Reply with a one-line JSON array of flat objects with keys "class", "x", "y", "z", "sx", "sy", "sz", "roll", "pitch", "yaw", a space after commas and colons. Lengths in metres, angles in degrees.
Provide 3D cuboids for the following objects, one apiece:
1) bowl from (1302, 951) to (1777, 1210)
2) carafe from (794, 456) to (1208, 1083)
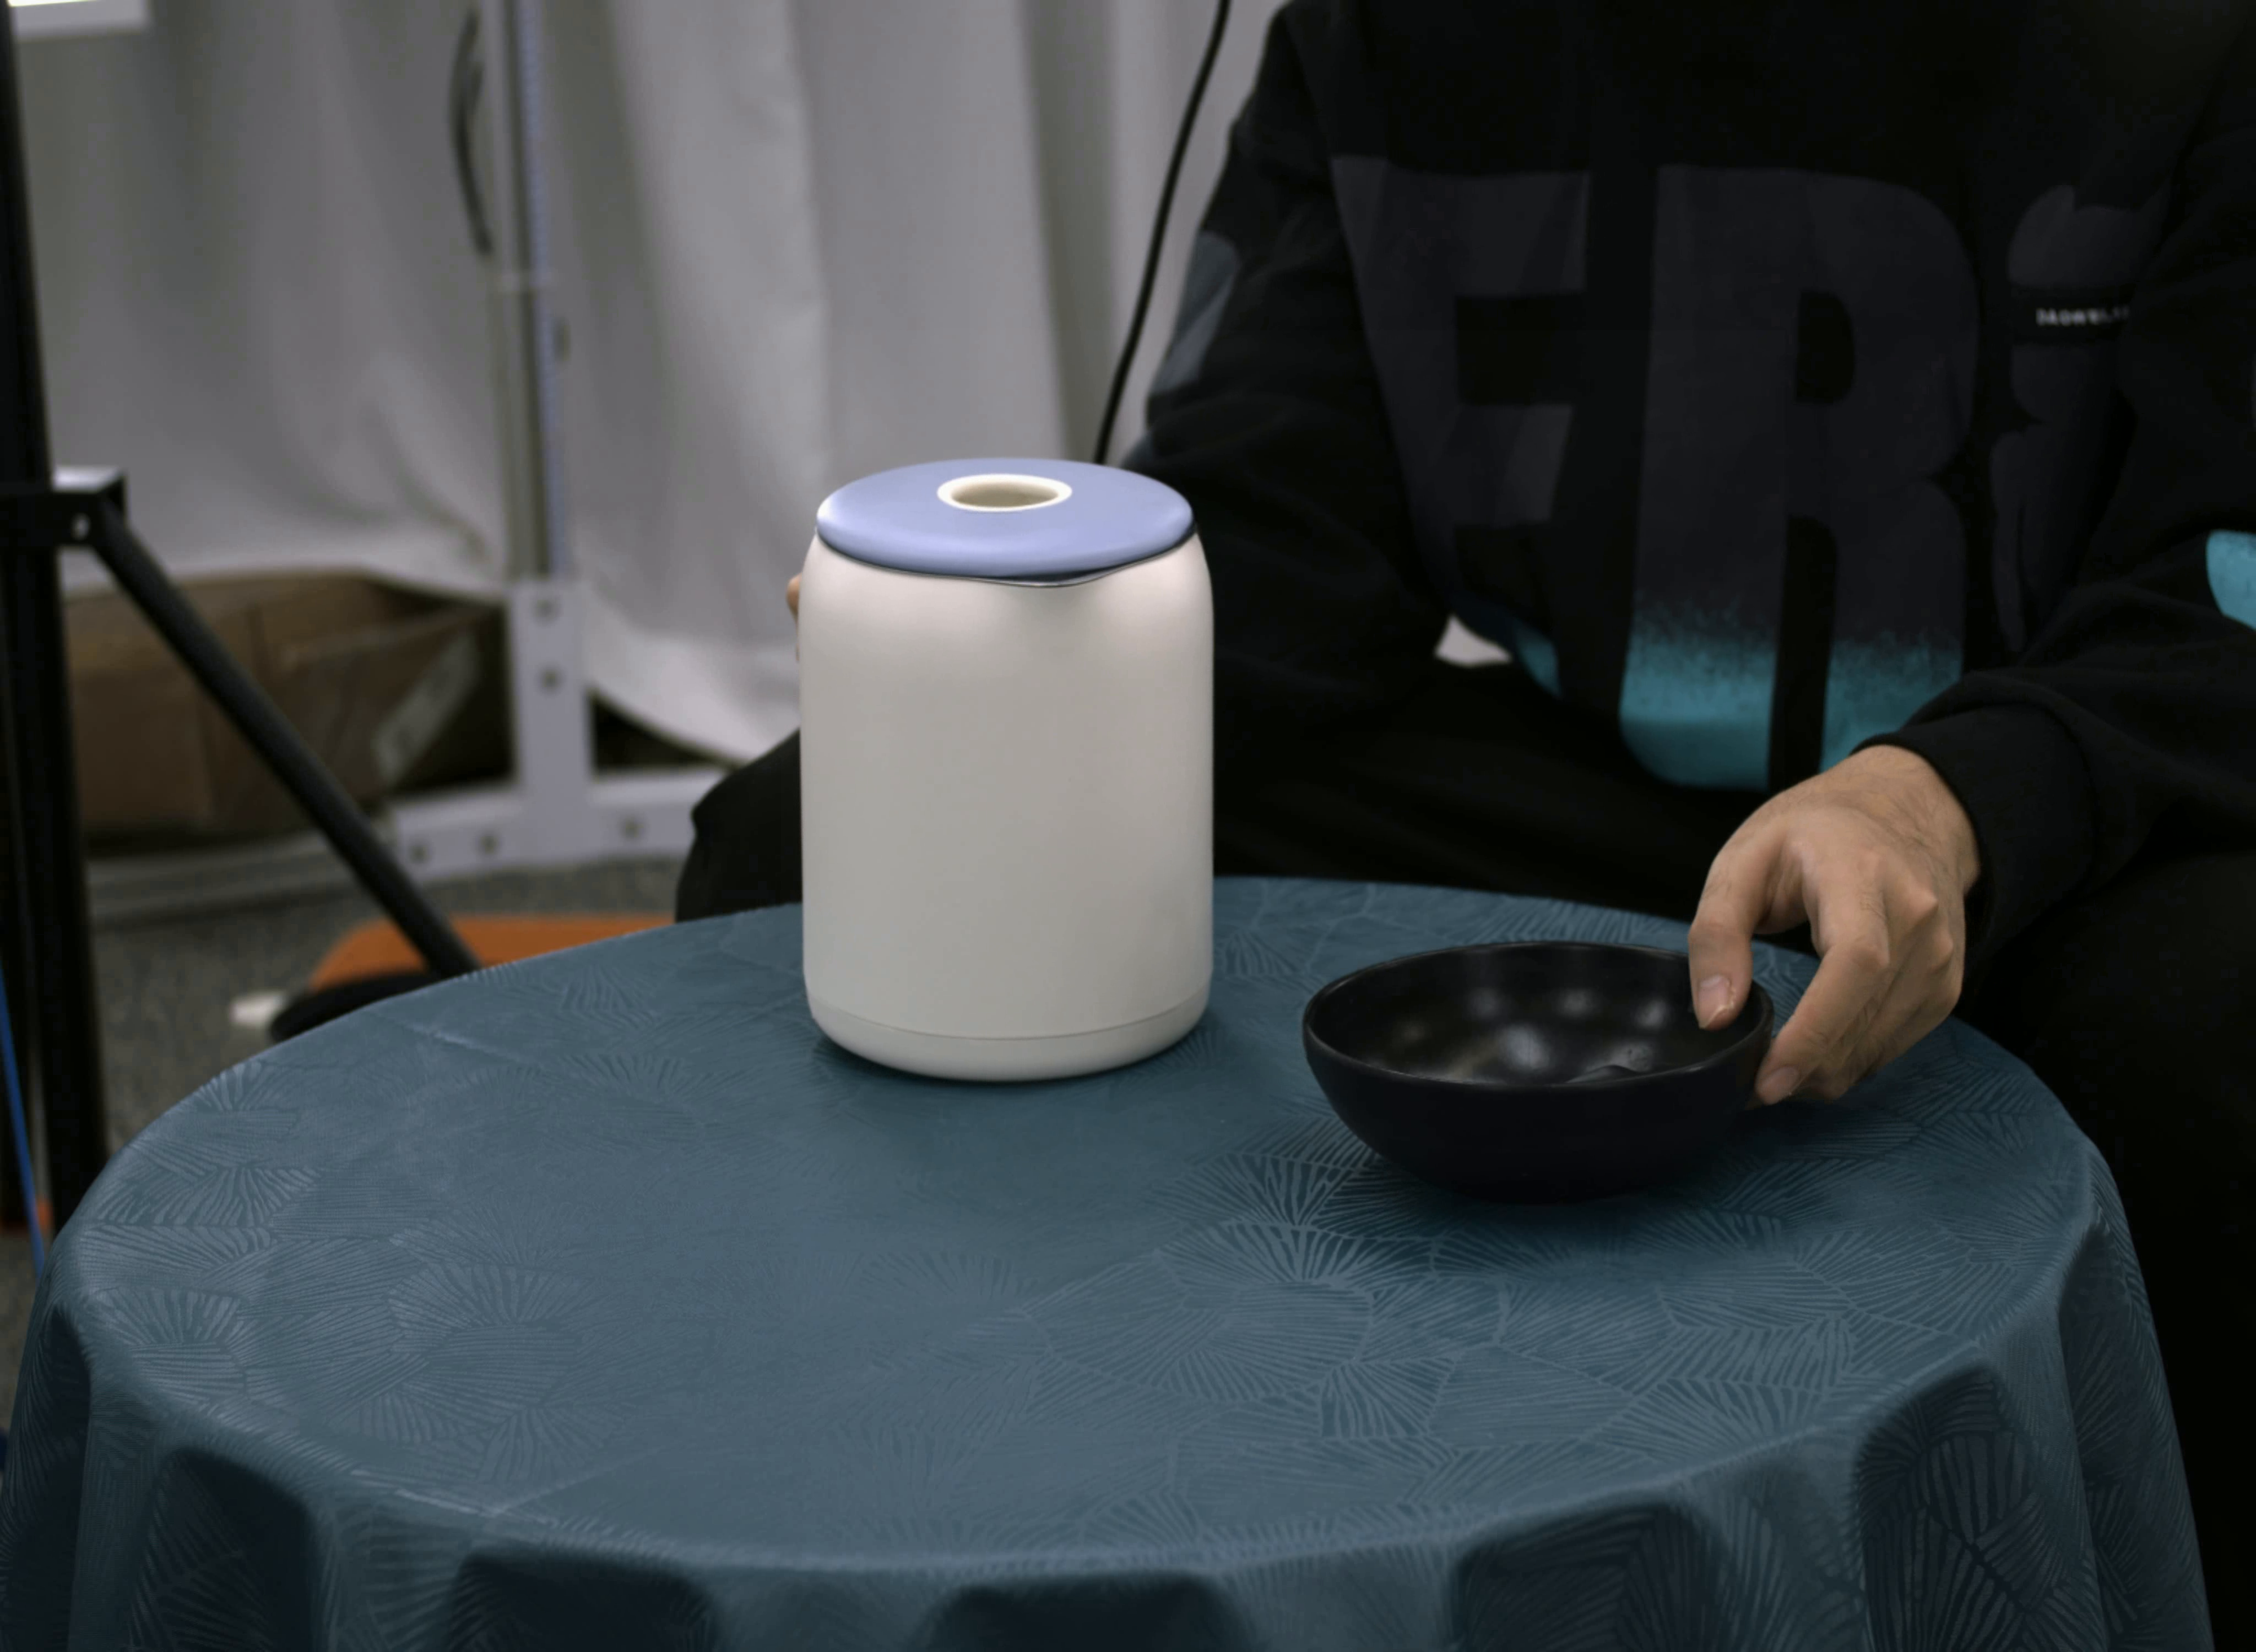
[{"class": "bowl", "x": 0.121, "y": 0.079, "z": 1.552, "sx": 0.139, "sy": 0.050, "sz": 0.140, "roll": -3, "pitch": 14, "yaw": -1}, {"class": "carafe", "x": -0.047, "y": -0.025, "z": 1.710, "sx": 0.130, "sy": 0.182, "sz": 0.194, "roll": -4, "pitch": 16, "yaw": -15}]
